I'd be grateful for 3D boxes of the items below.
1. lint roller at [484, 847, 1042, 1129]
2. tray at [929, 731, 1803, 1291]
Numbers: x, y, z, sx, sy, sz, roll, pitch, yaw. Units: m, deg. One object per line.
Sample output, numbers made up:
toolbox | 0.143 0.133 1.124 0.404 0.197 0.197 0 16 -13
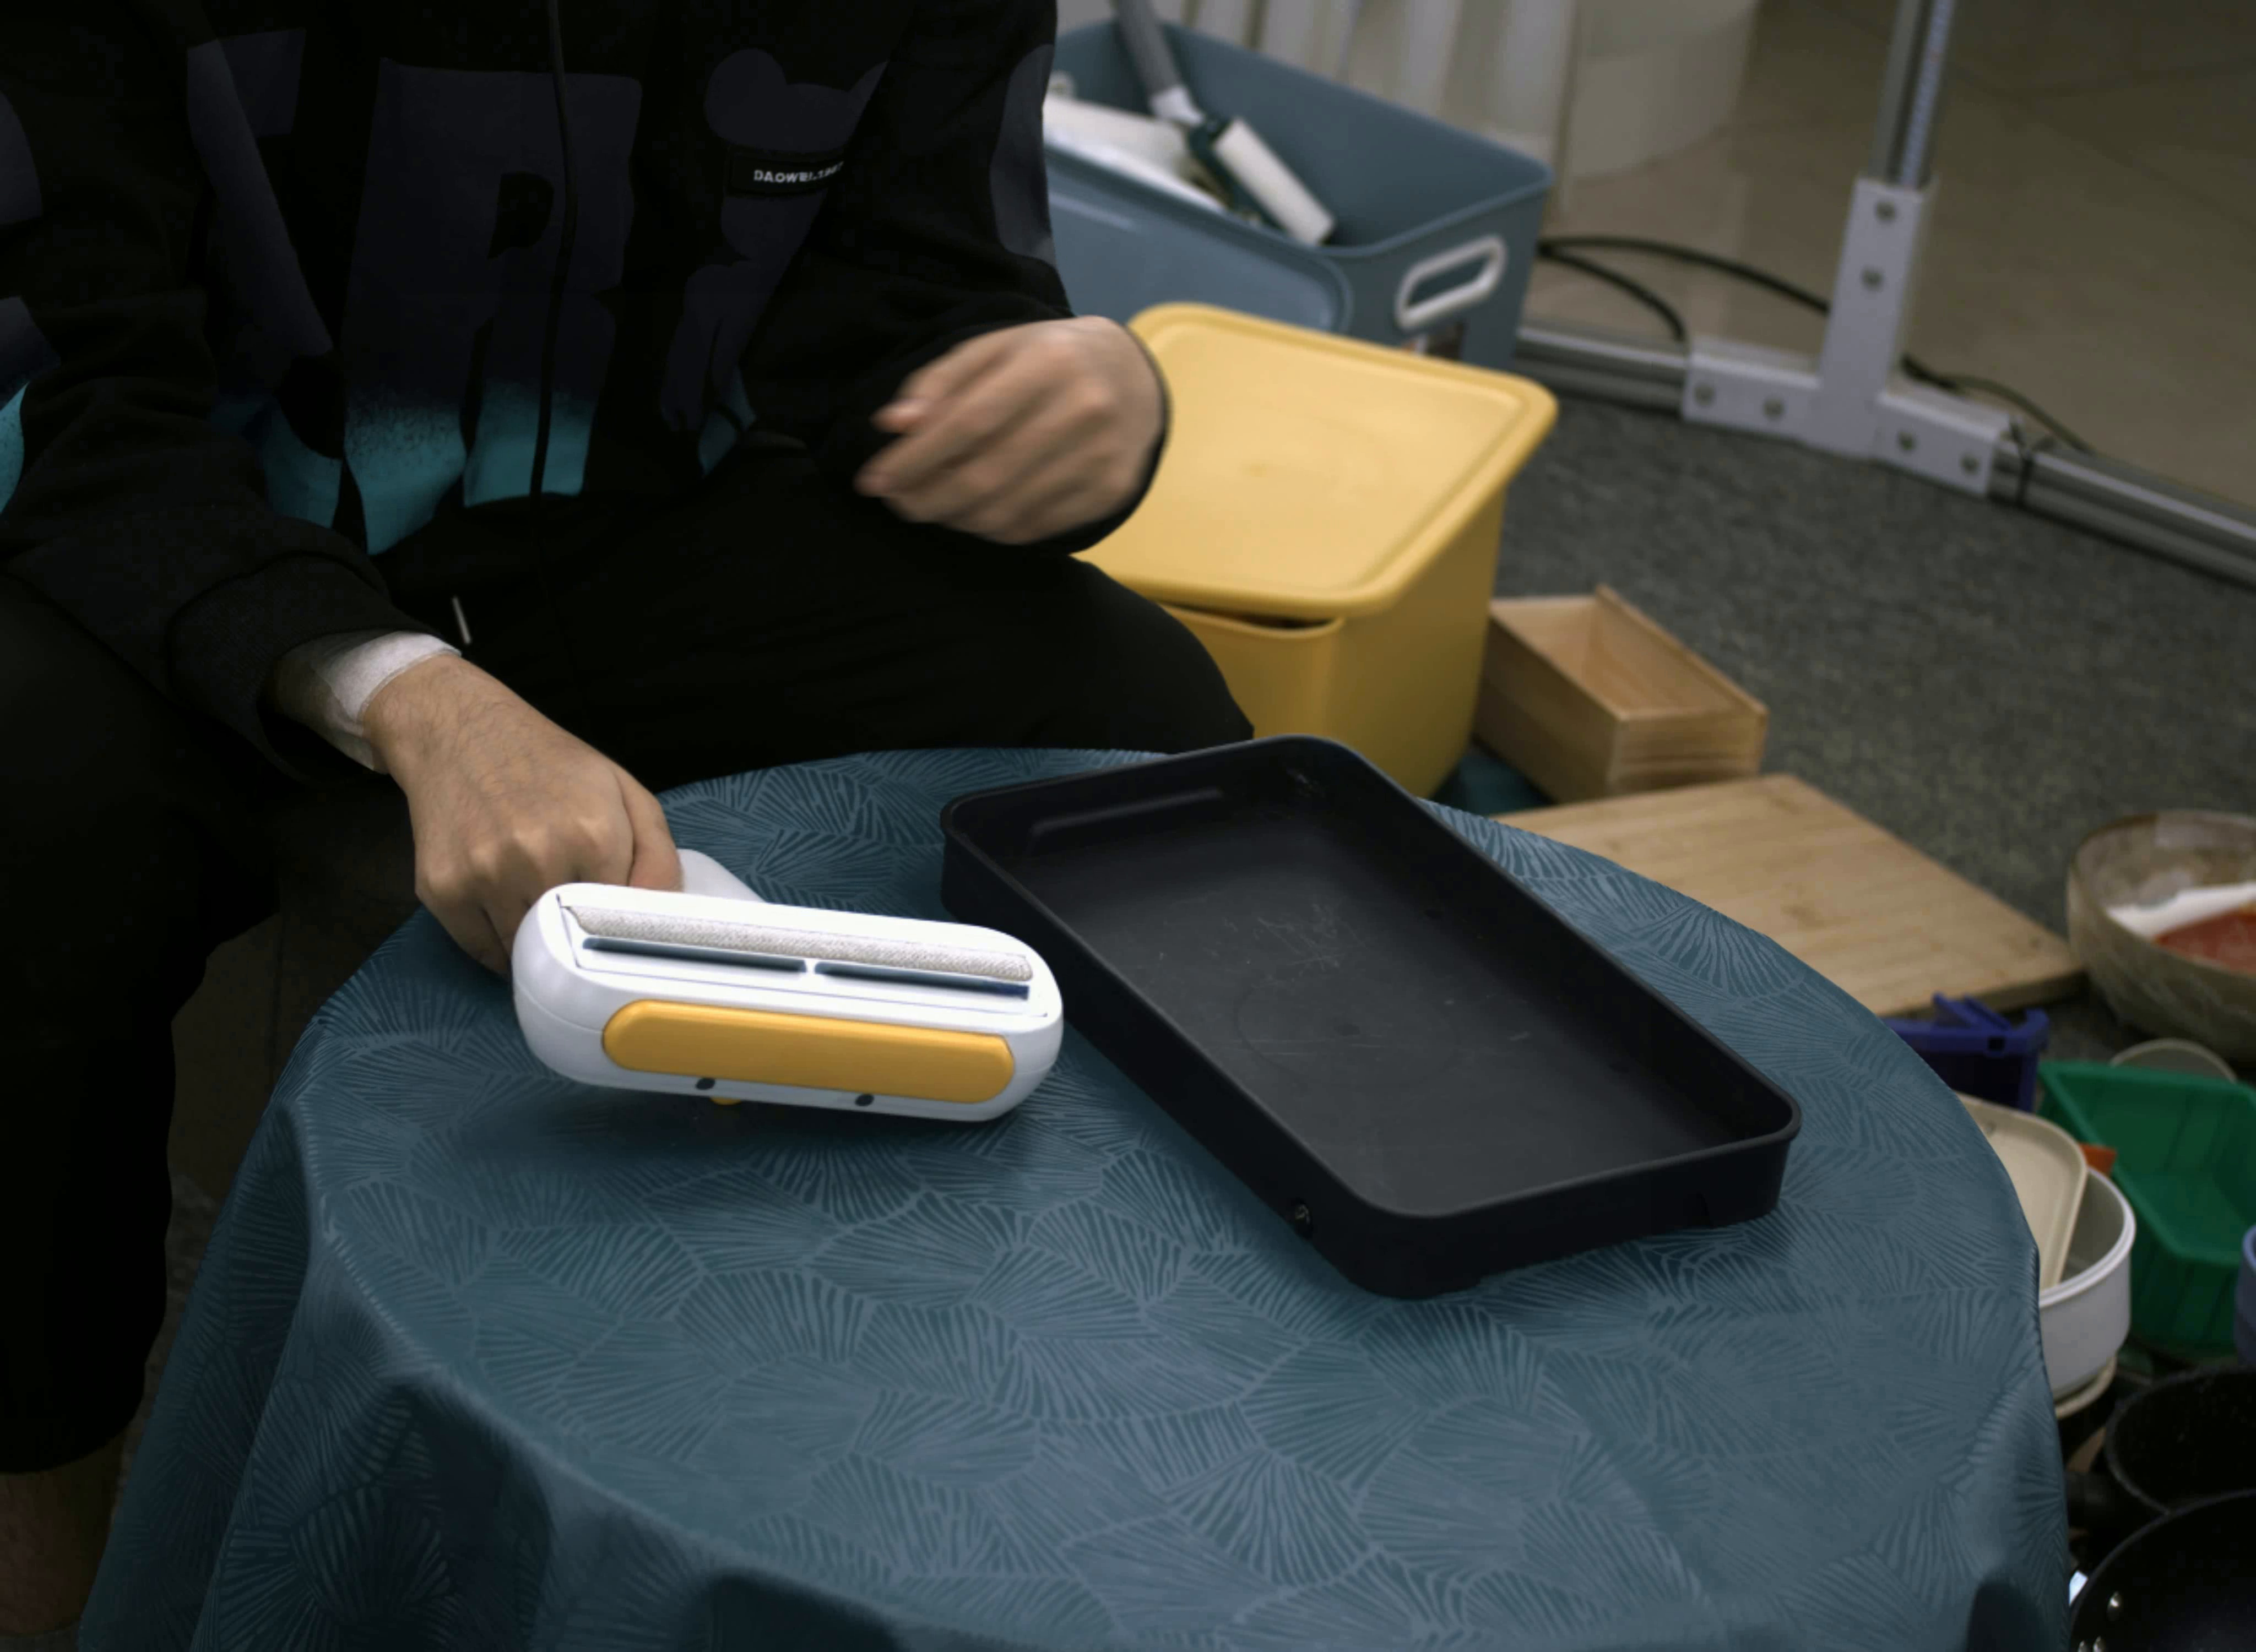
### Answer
lint roller | -0.137 0.041 1.857 0.191 0.074 0.194 4 25 -17
tray | 0.078 0.060 1.903 0.183 0.037 0.321 -11 32 -31
